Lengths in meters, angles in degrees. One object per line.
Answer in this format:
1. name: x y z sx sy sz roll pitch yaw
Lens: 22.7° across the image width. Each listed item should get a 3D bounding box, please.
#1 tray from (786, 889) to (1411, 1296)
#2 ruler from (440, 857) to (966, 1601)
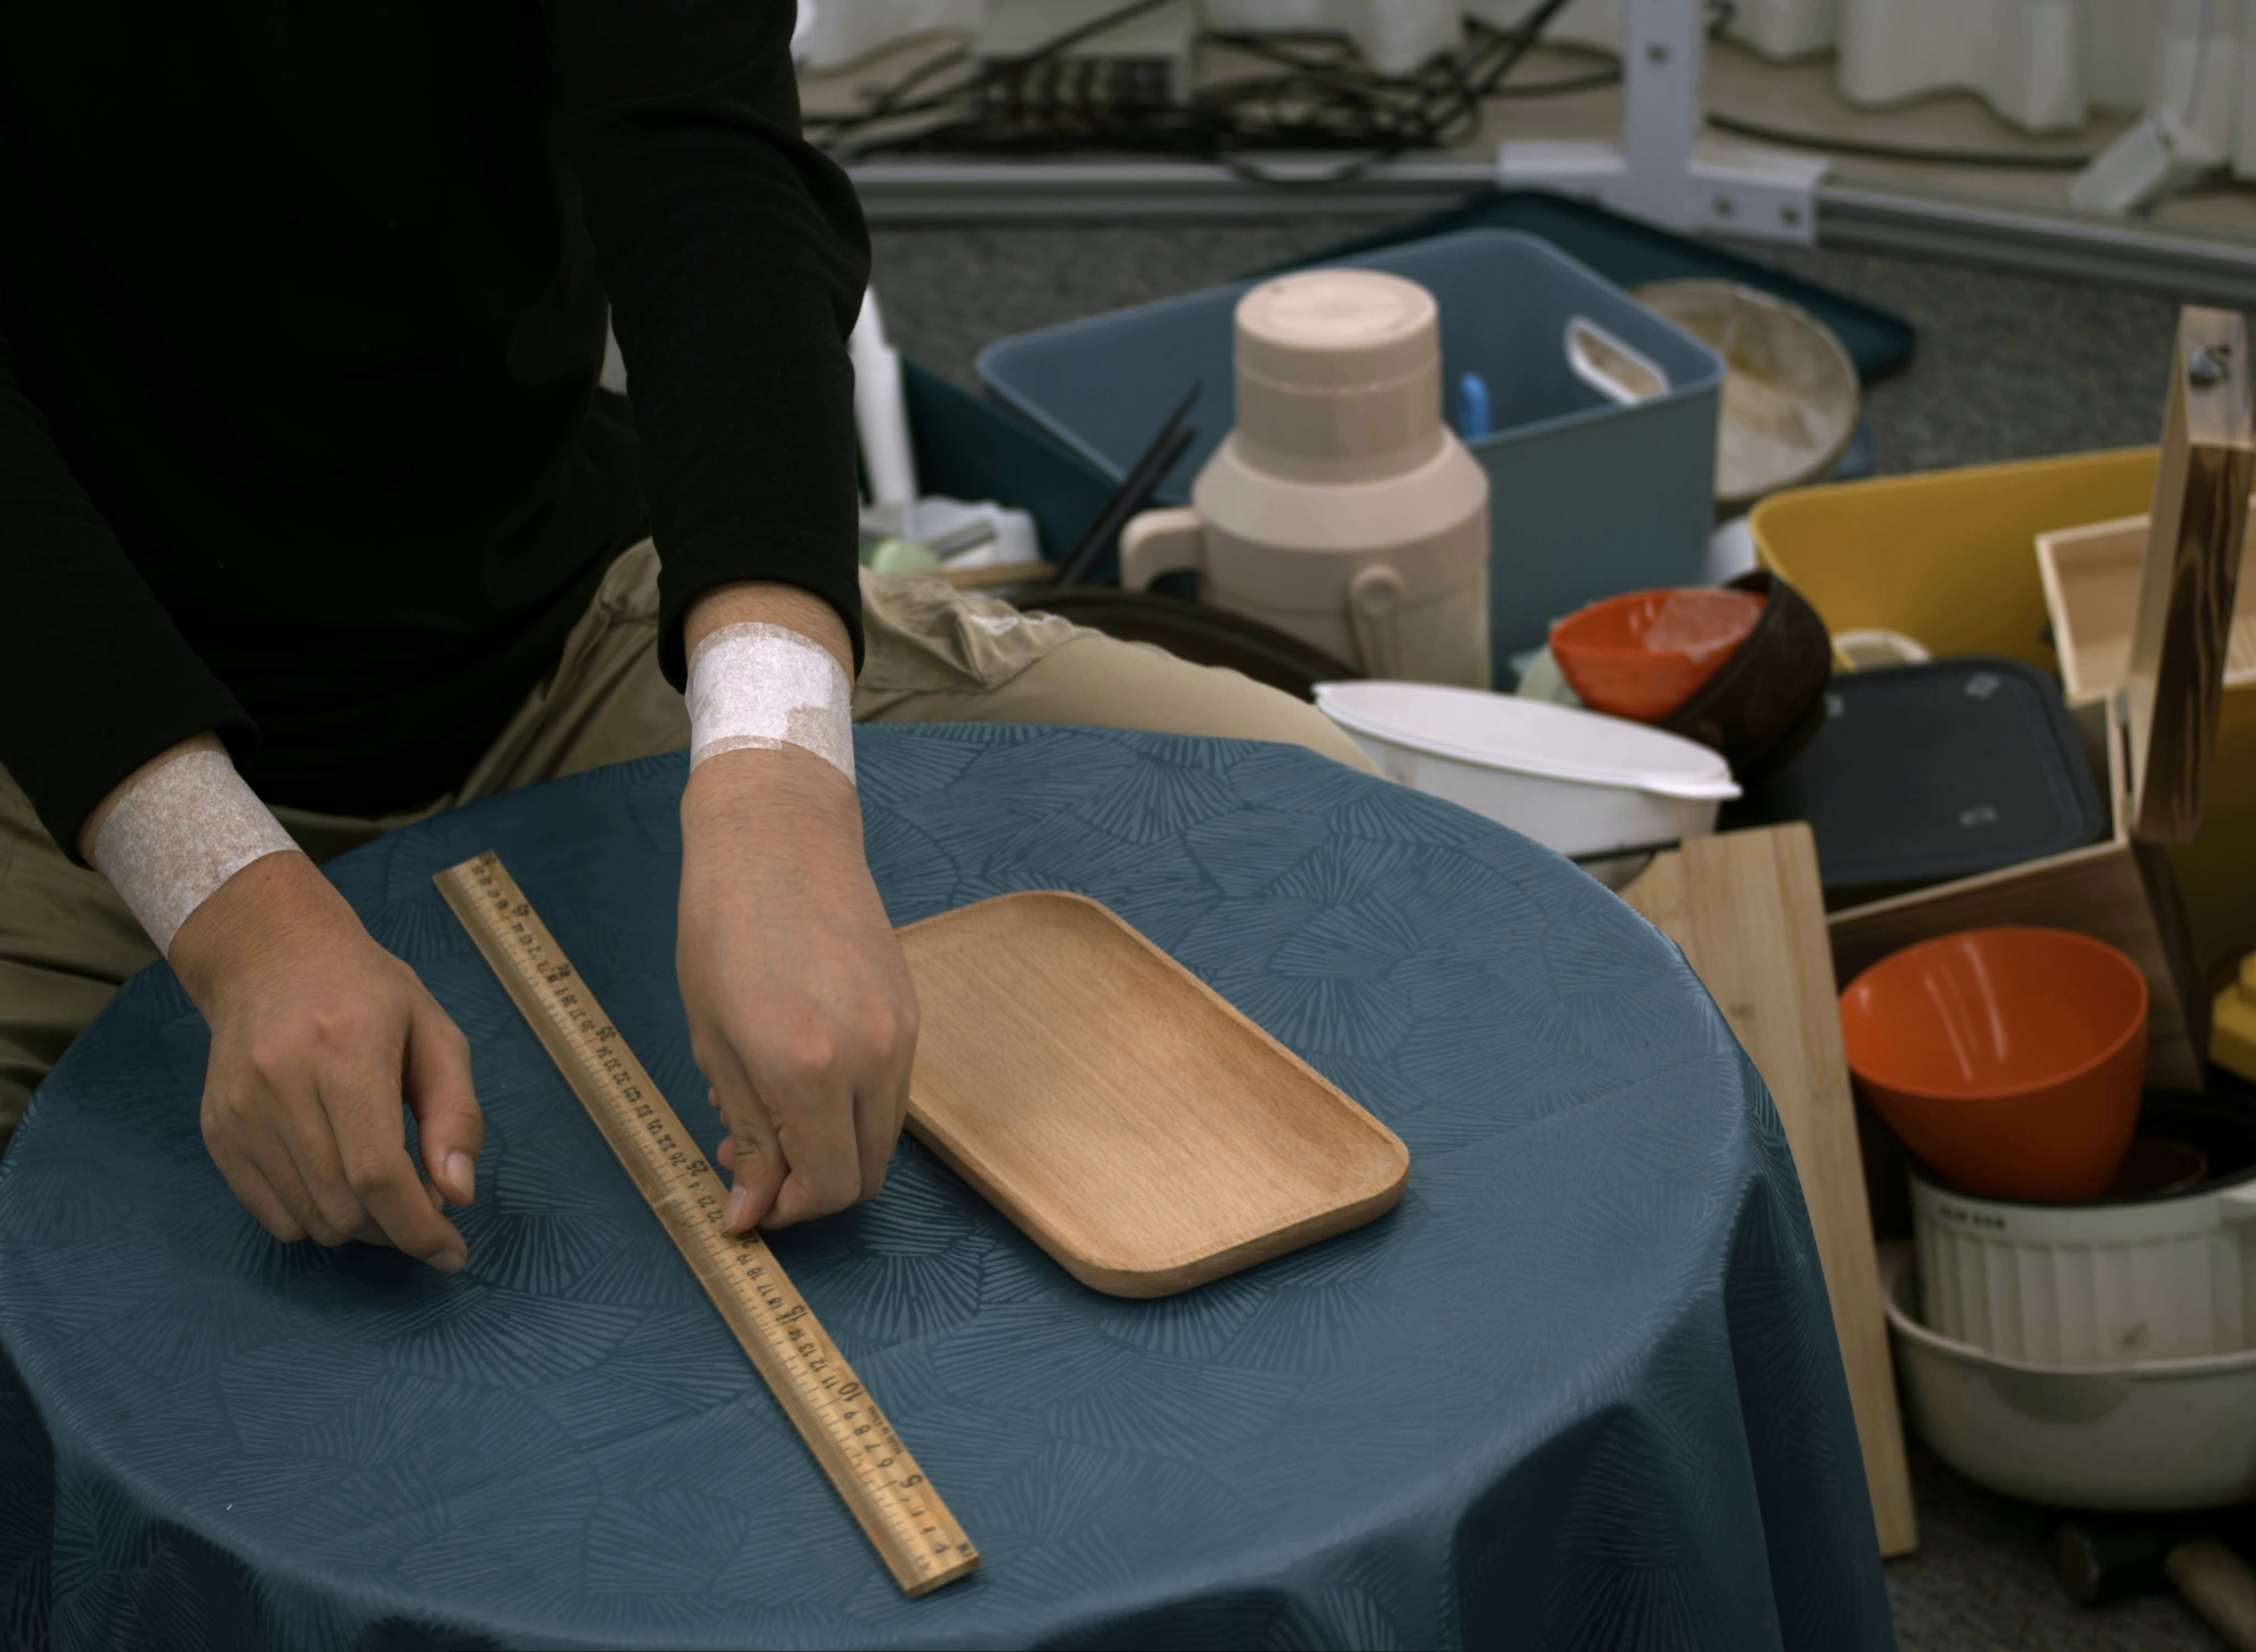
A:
1. tray: -0.013 0.088 1.910 0.131 0.022 0.252 -14 28 -26
2. ruler: -0.150 0.120 1.869 0.027 0.006 0.504 -21 31 -13
